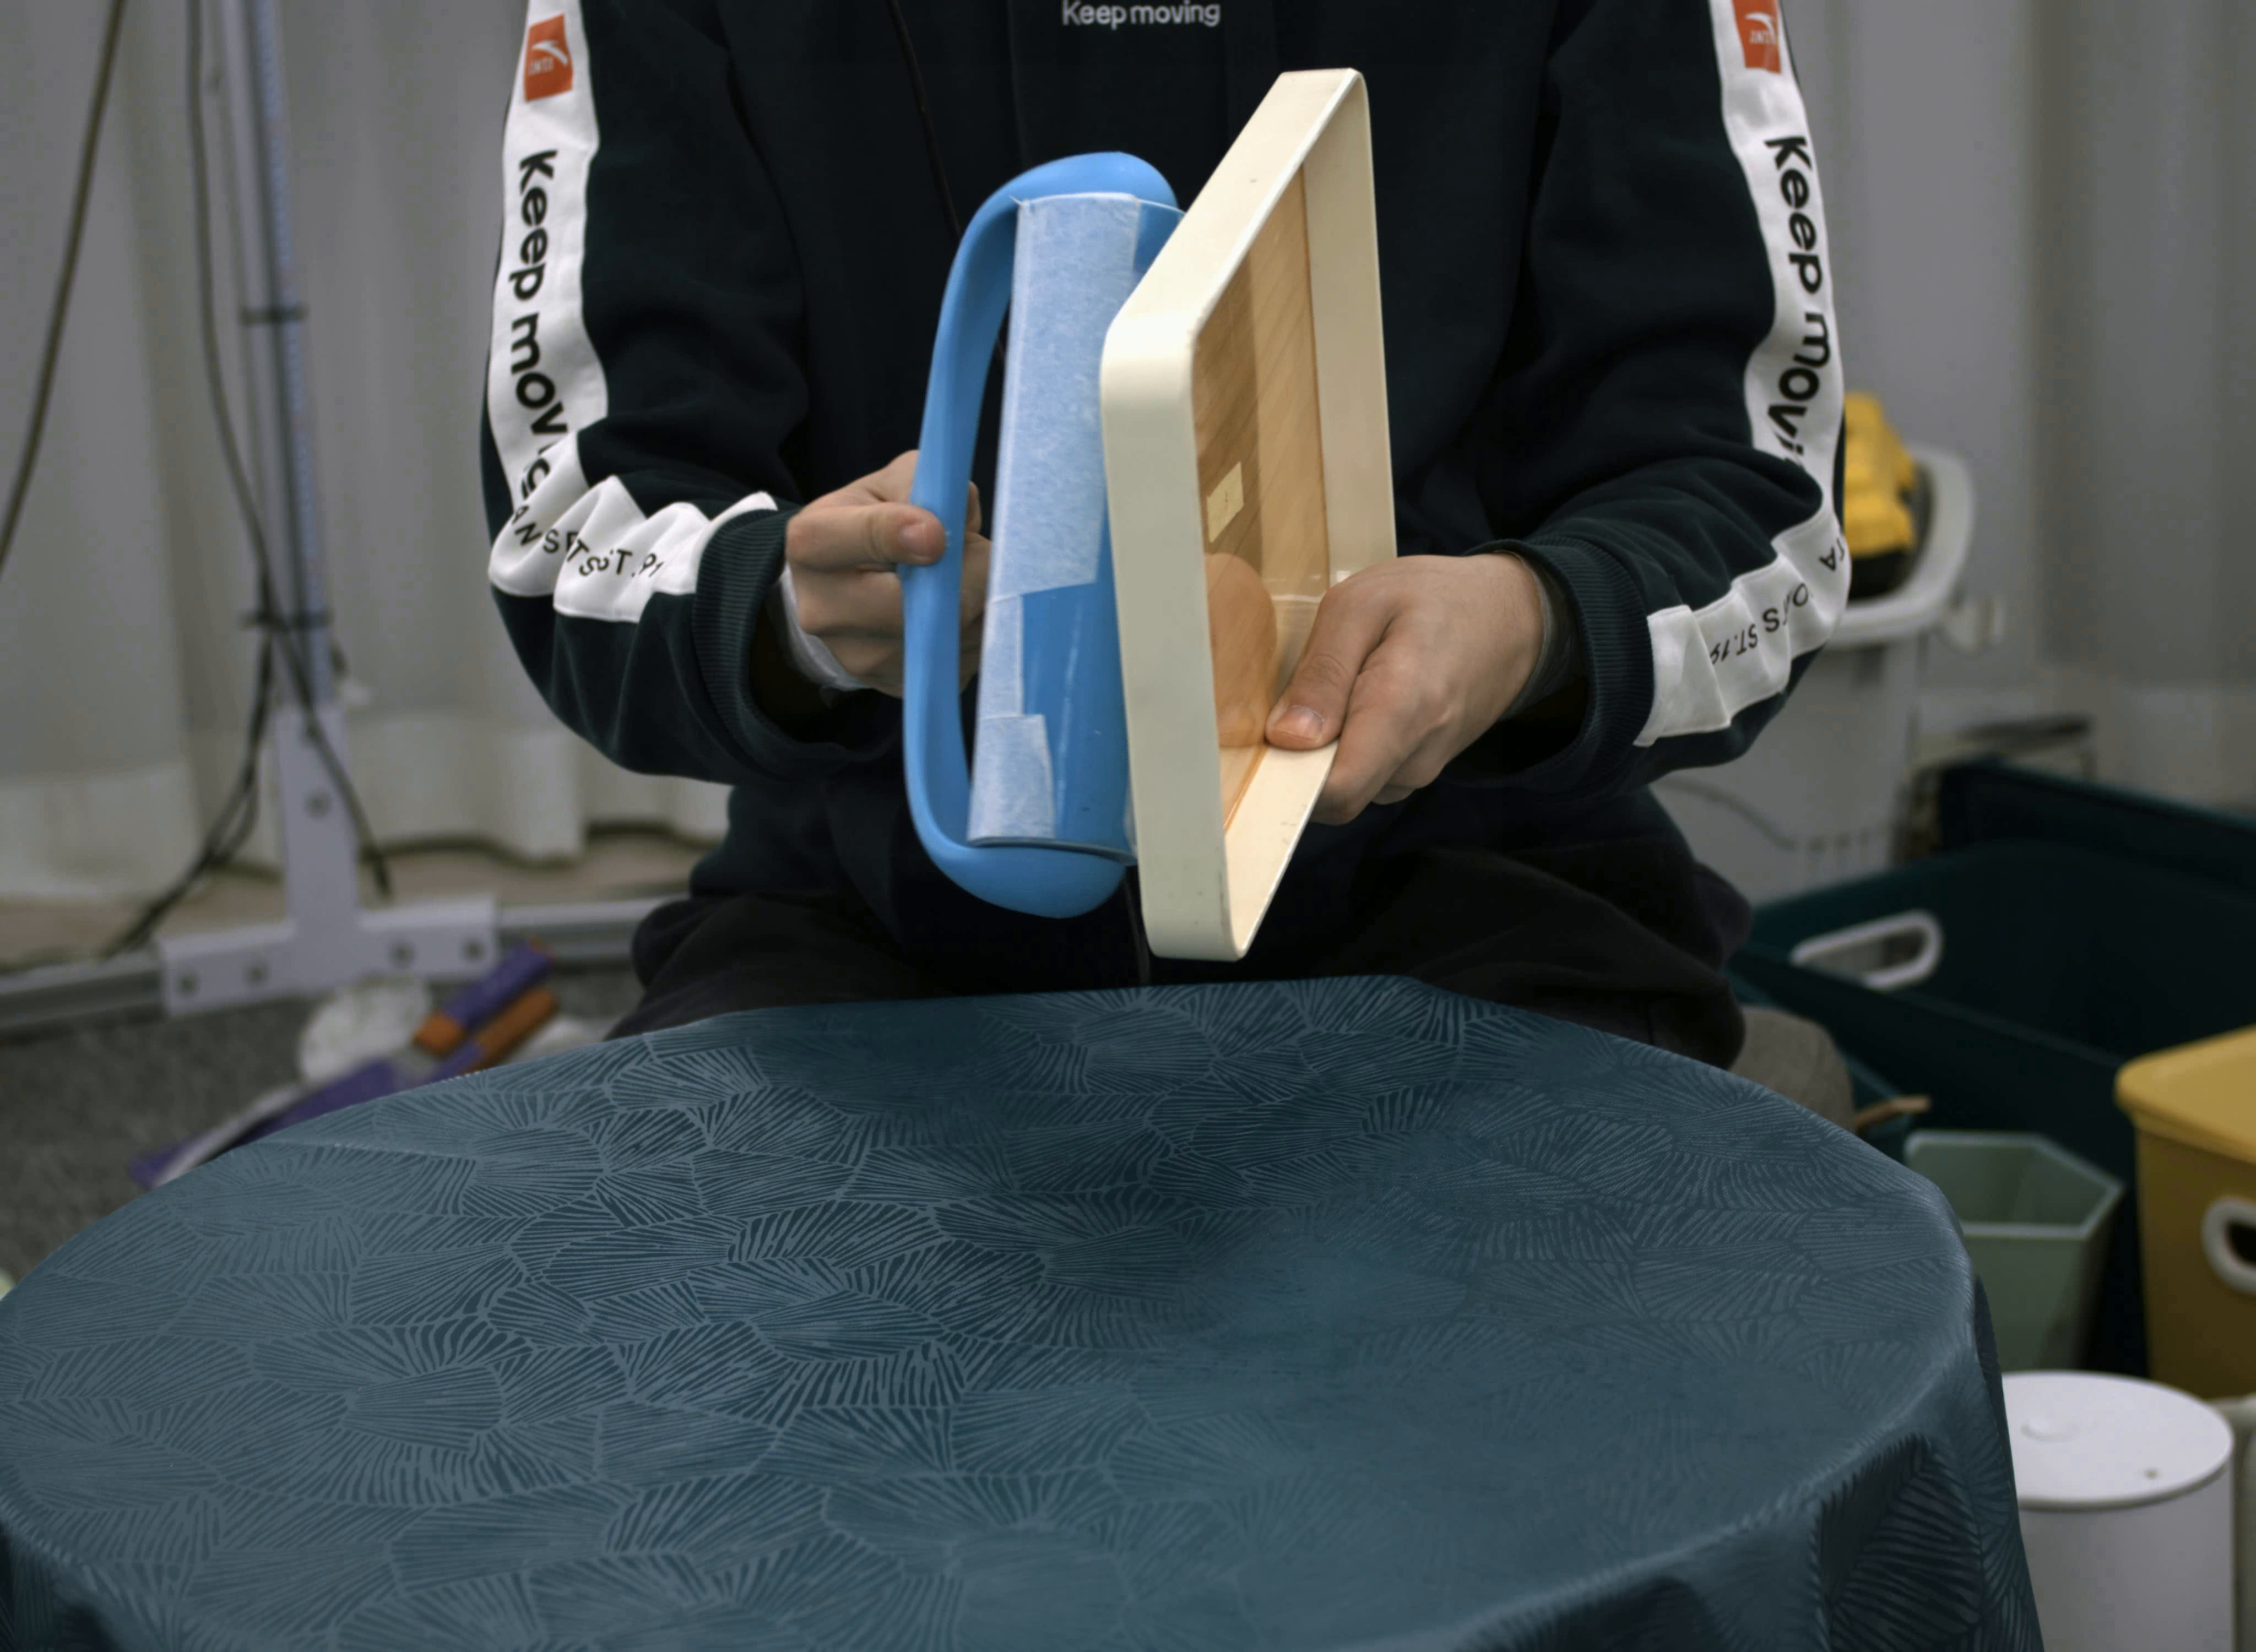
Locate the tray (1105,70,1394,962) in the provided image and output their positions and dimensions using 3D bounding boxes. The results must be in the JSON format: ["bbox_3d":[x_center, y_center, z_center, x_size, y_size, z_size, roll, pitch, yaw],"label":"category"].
[{"bbox_3d":[0.040,-0.100,1.642,0.027,0.190,0.302,0,21,12],"label":"tray"}]

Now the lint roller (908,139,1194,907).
[{"bbox_3d":[-0.036,-0.081,1.663,0.067,0.231,0.180,6,-12,-22],"label":"lint roller"}]
